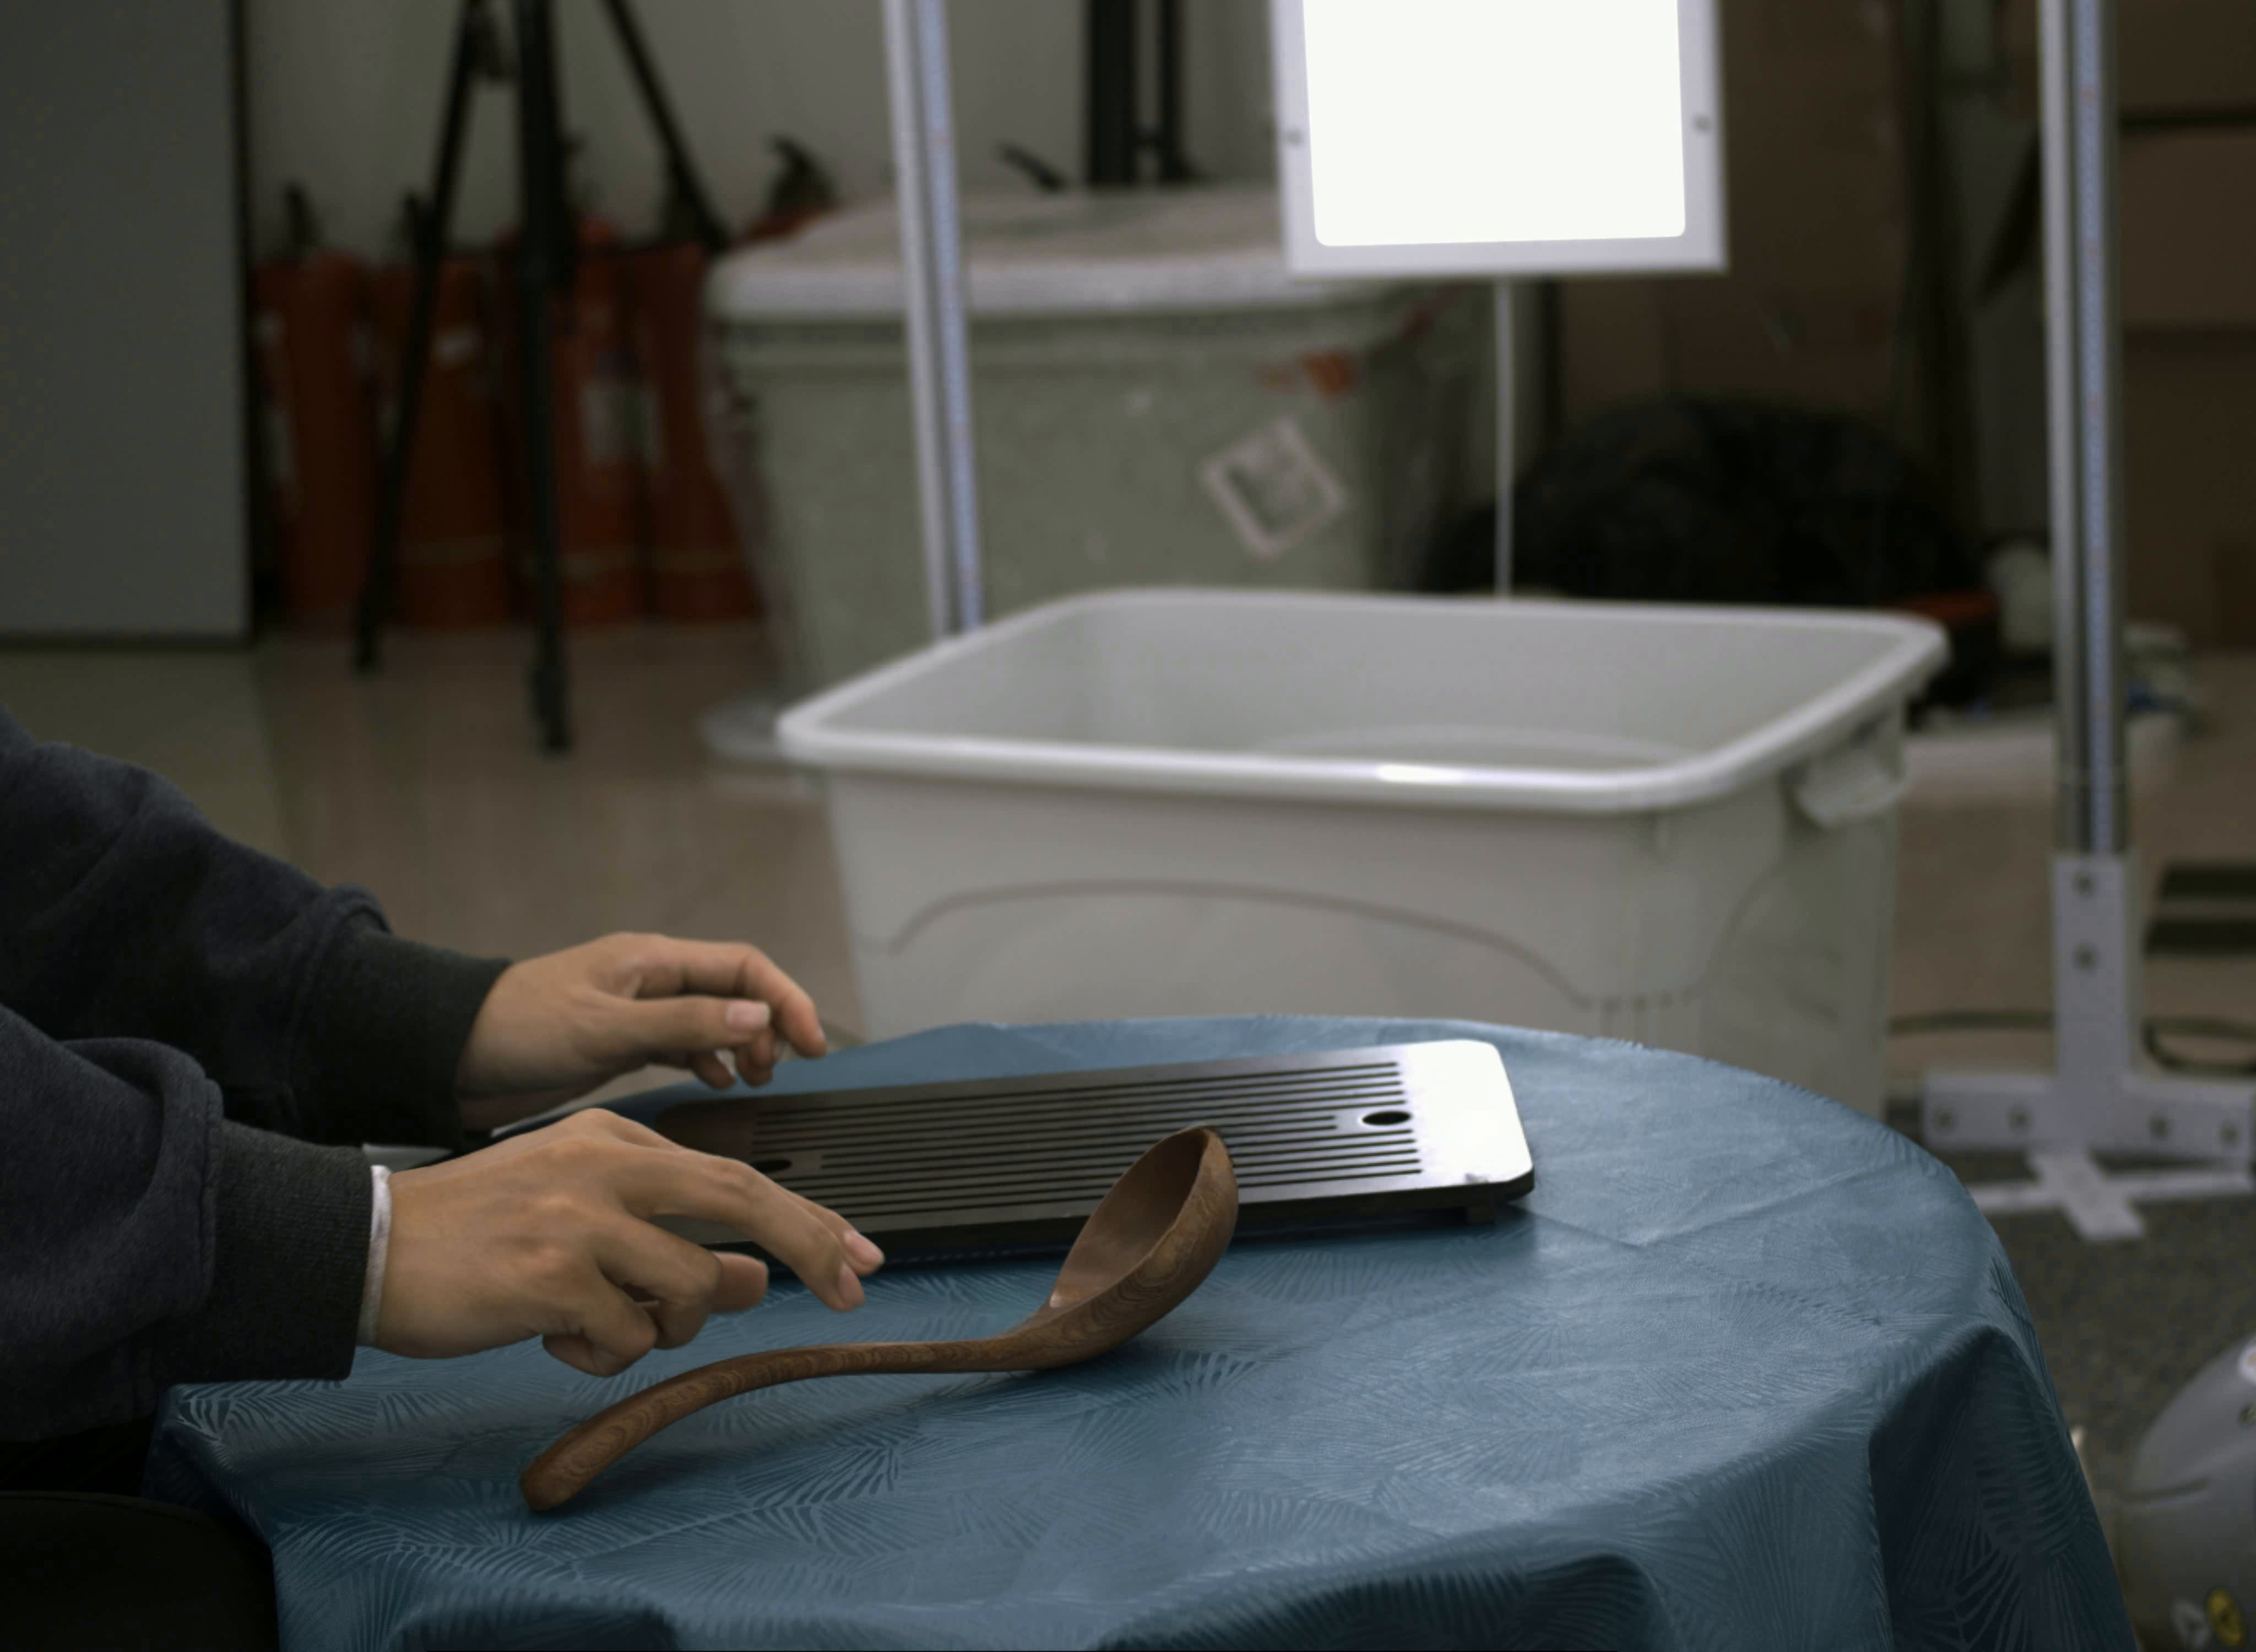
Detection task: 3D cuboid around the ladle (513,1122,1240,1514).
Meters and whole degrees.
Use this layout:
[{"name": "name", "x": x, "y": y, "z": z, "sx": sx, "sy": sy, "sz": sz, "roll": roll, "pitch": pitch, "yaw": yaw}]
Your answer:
[{"name": "ladle", "x": -0.078, "y": 0.149, "z": 1.699, "sx": 0.254, "sy": 0.065, "sz": 0.078, "roll": -13, "pitch": -9, "yaw": -27}]

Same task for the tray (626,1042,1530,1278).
[{"name": "tray", "x": -0.018, "y": 0.116, "z": 1.911, "sx": 0.306, "sy": 0.019, "sz": 0.169, "roll": -5, "pitch": 14, "yaw": 2}]
